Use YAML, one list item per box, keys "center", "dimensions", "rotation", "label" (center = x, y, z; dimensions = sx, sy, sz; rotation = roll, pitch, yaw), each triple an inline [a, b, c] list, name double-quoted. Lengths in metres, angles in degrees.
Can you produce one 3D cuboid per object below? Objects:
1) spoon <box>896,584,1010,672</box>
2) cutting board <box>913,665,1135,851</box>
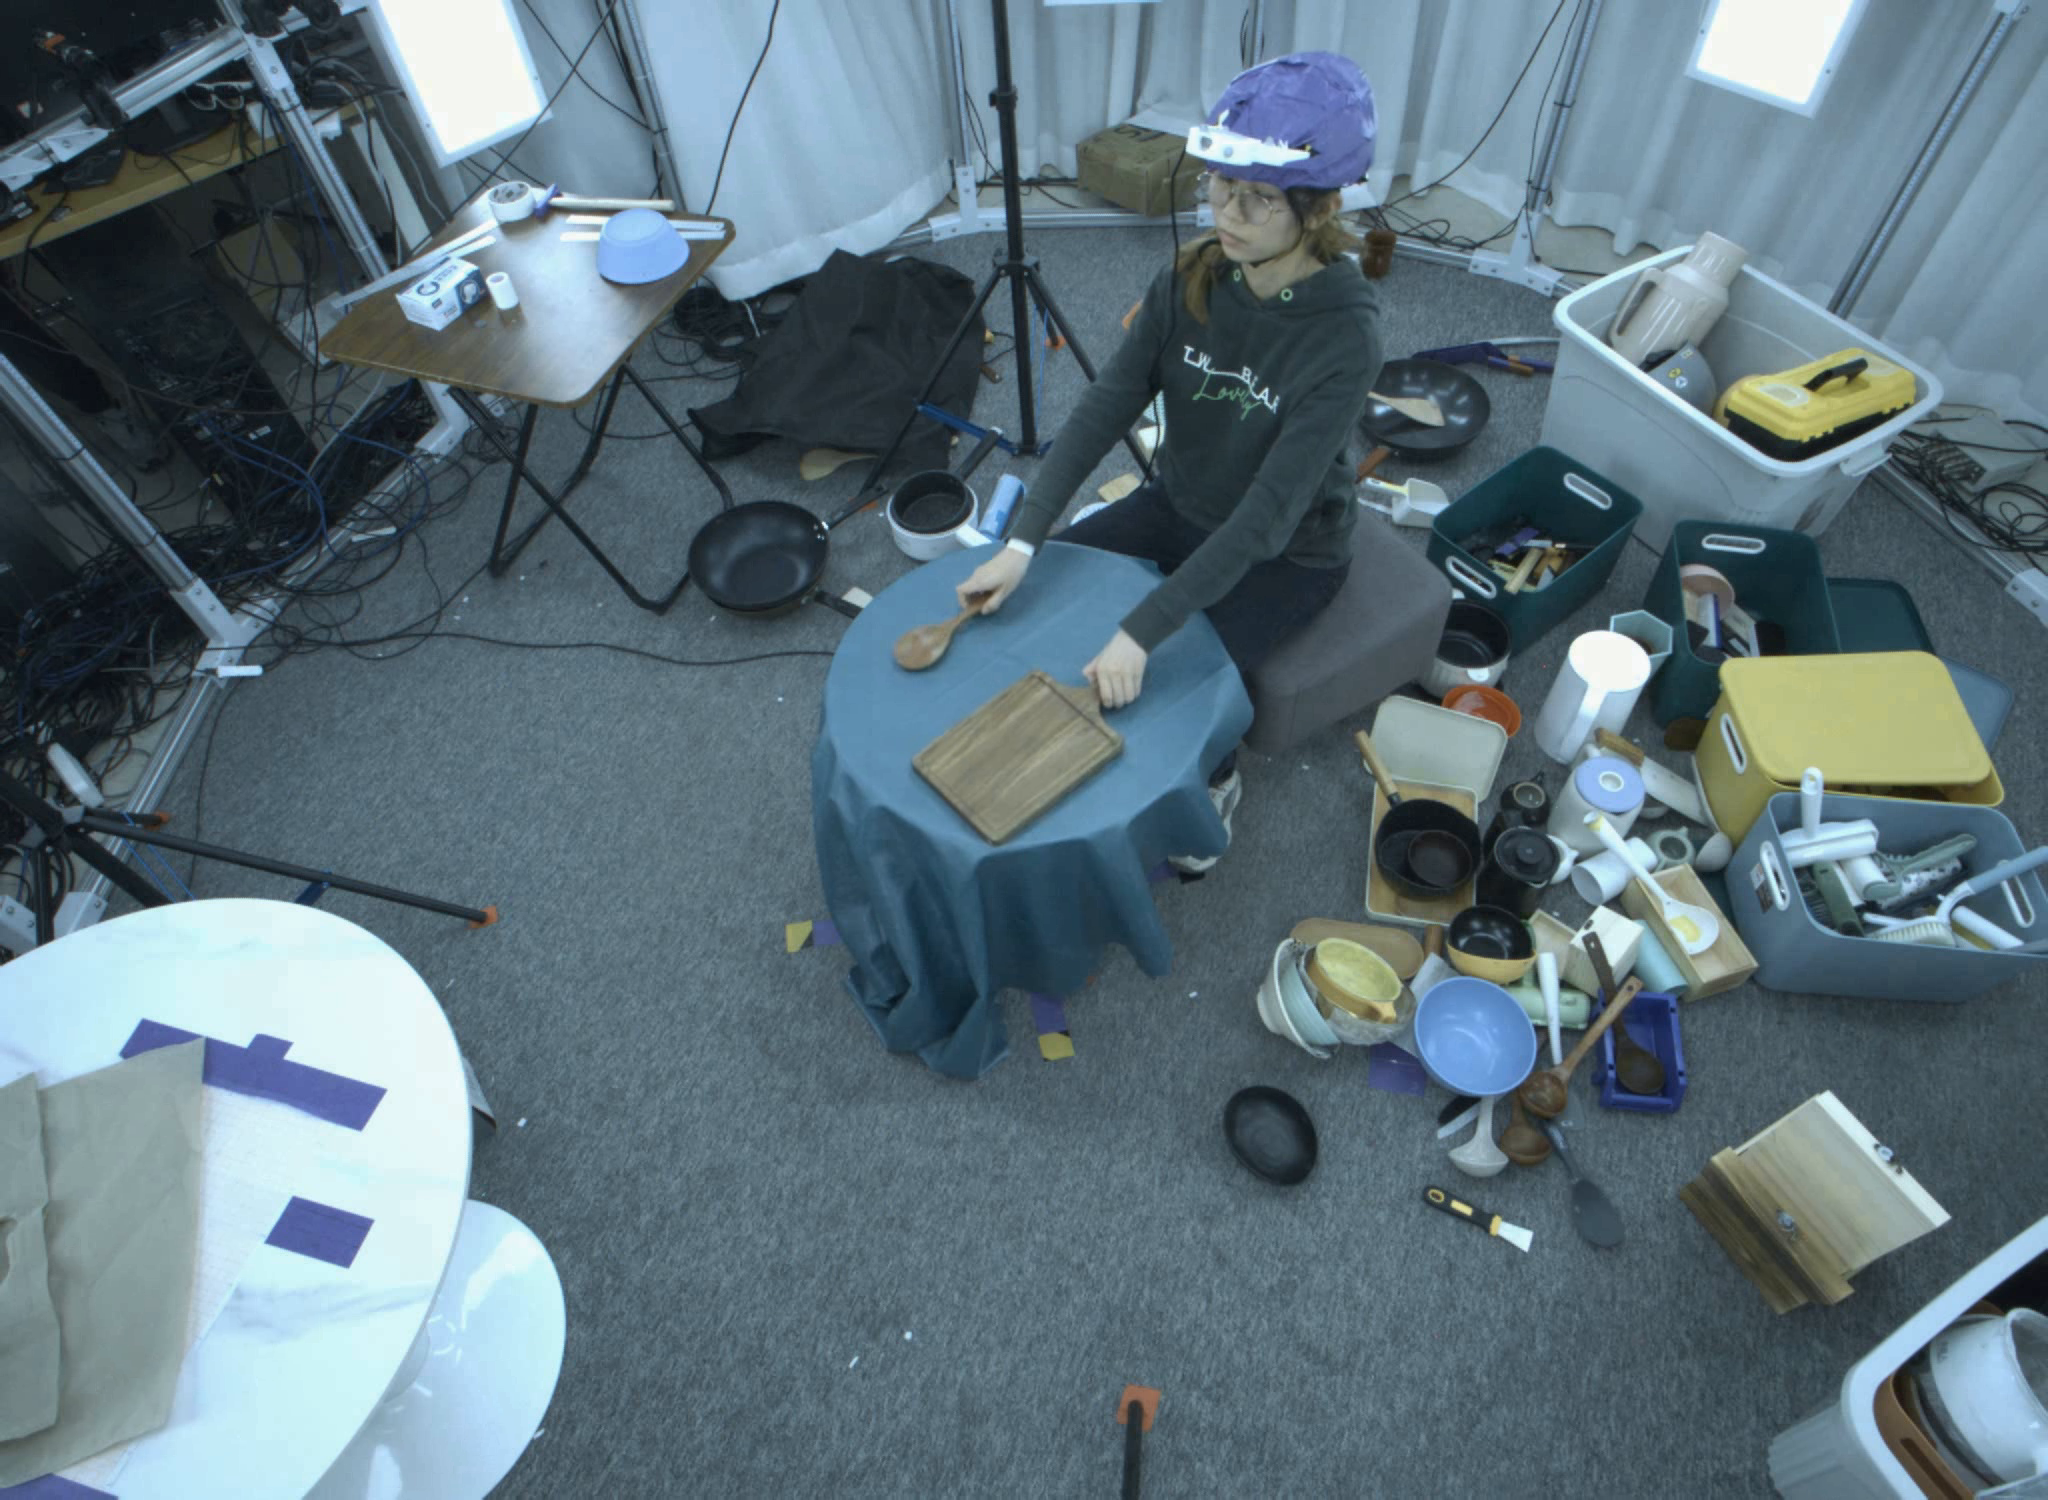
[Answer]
- center: [-0.108, -0.192, 1.915]
  dimensions: [0.217, 0.017, 0.074]
  rotation: [-39, 62, -15]
  label: "spoon"
- center: [0.031, -0.017, 1.794]
  dimensions: [0.354, 0.023, 0.197]
  rotation: [-37, 61, -20]
  label: "cutting board"
